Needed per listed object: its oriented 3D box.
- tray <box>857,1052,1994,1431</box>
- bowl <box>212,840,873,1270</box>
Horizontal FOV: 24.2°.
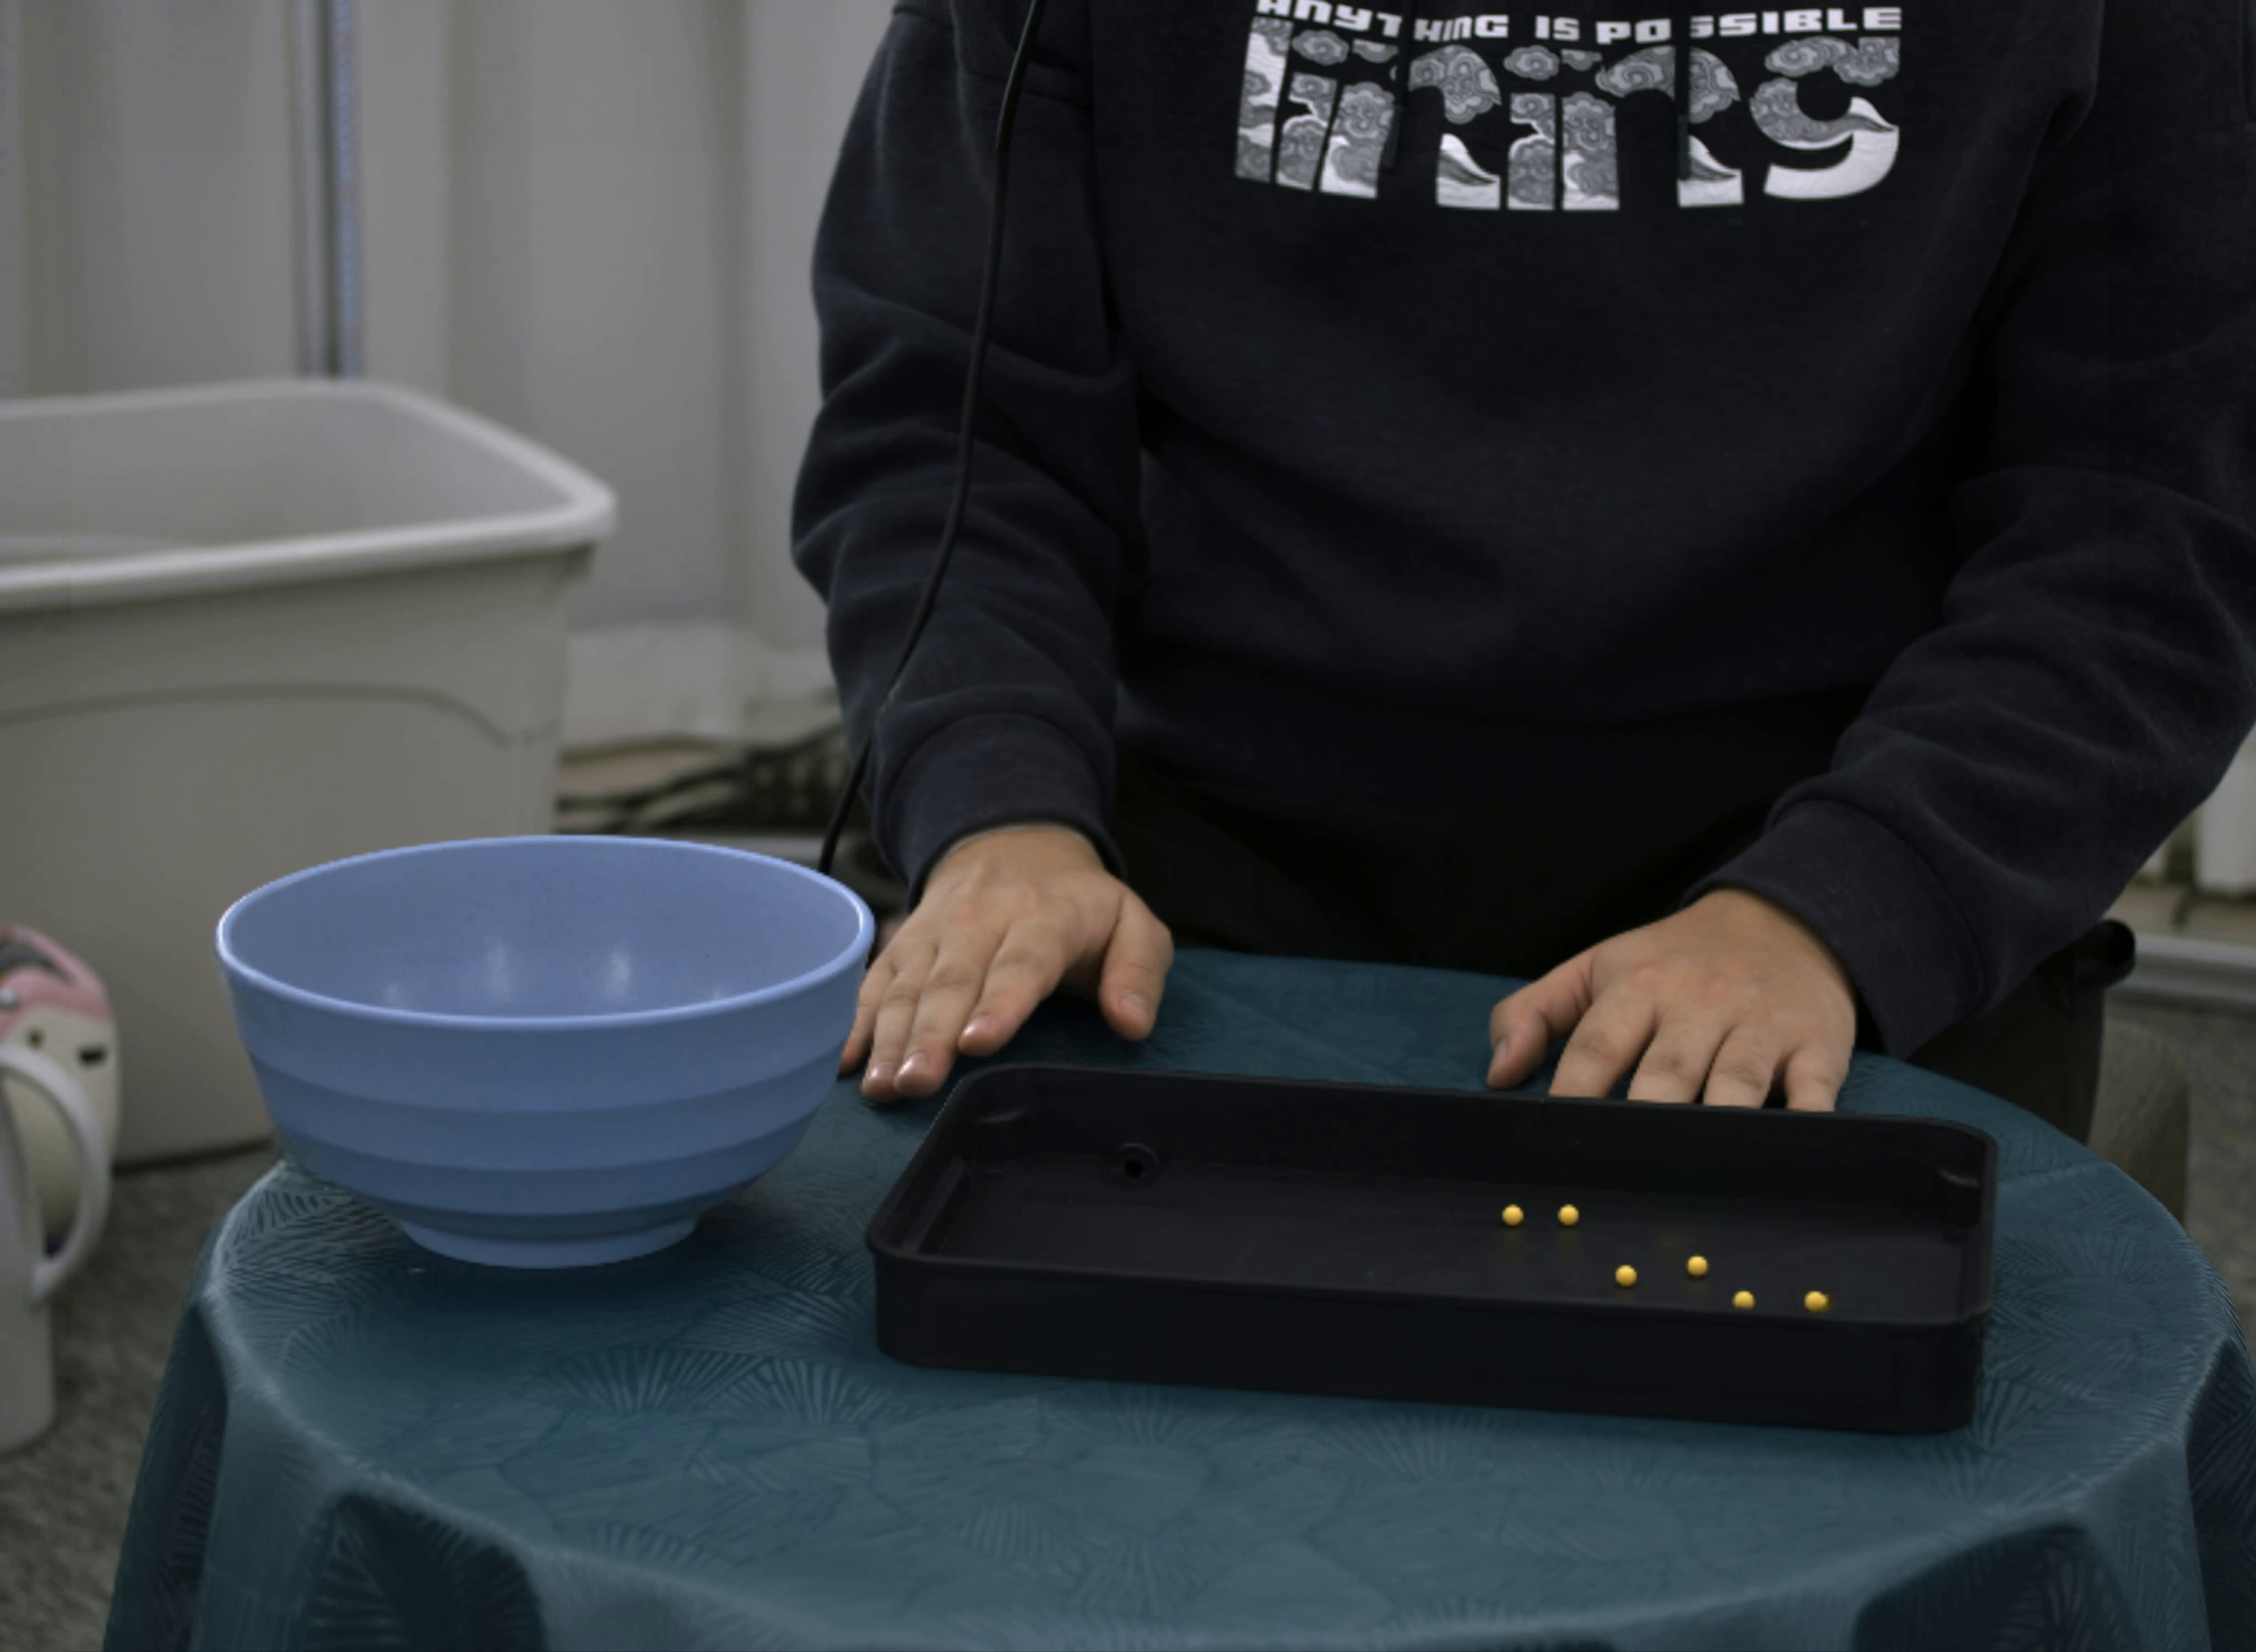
[{"bbox_3d":[0.091,0.118,1.538,0.316,0.037,0.184,3,15,8],"label":"tray"},{"bbox_3d":[-0.174,0.073,1.581,0.196,0.096,0.195,0,15,1],"label":"bowl"}]
